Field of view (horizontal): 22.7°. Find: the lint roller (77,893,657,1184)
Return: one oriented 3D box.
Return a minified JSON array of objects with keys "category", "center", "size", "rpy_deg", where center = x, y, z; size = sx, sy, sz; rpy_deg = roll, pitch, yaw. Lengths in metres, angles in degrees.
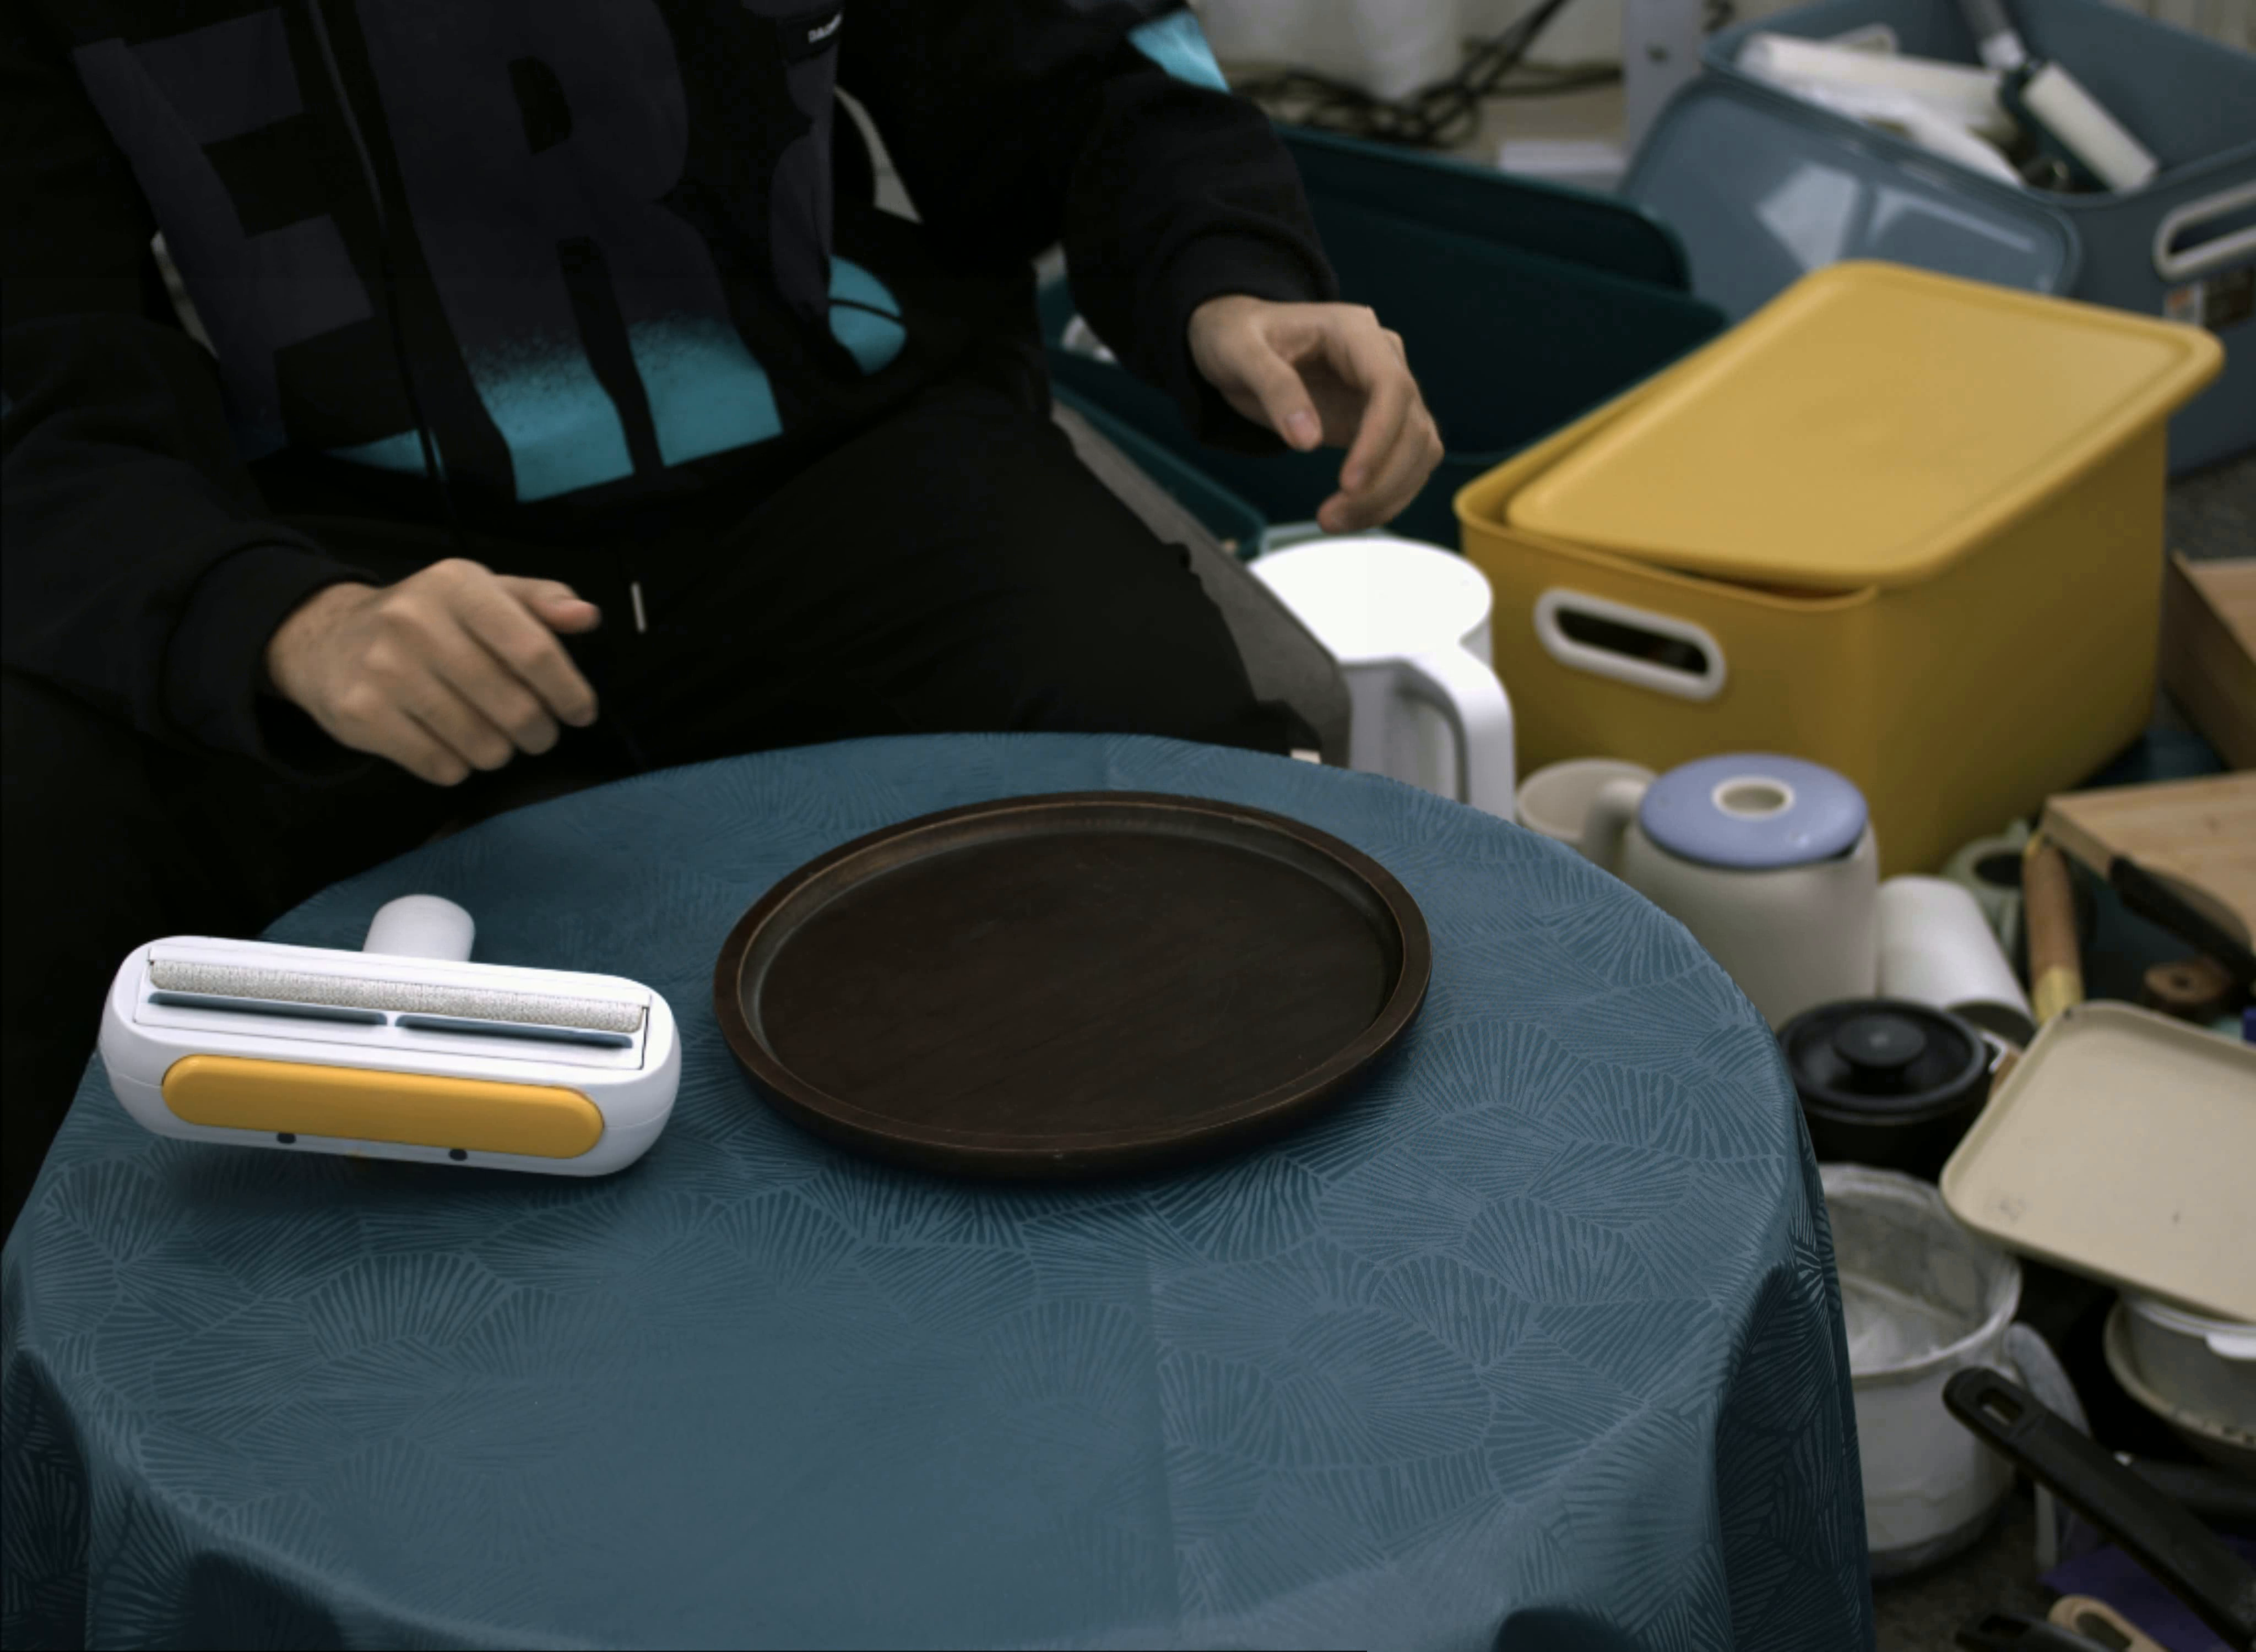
[{"category":"lint roller","center":[-0.252,0.058,1.935],"size":[0.192,0.073,0.195],"rpy_deg":[3,26,1]}]

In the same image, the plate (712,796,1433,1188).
[{"category":"plate","center":[-0.019,0.057,1.963],"size":[0.253,0.029,0.258],"rpy_deg":[-2,26,2]}]
